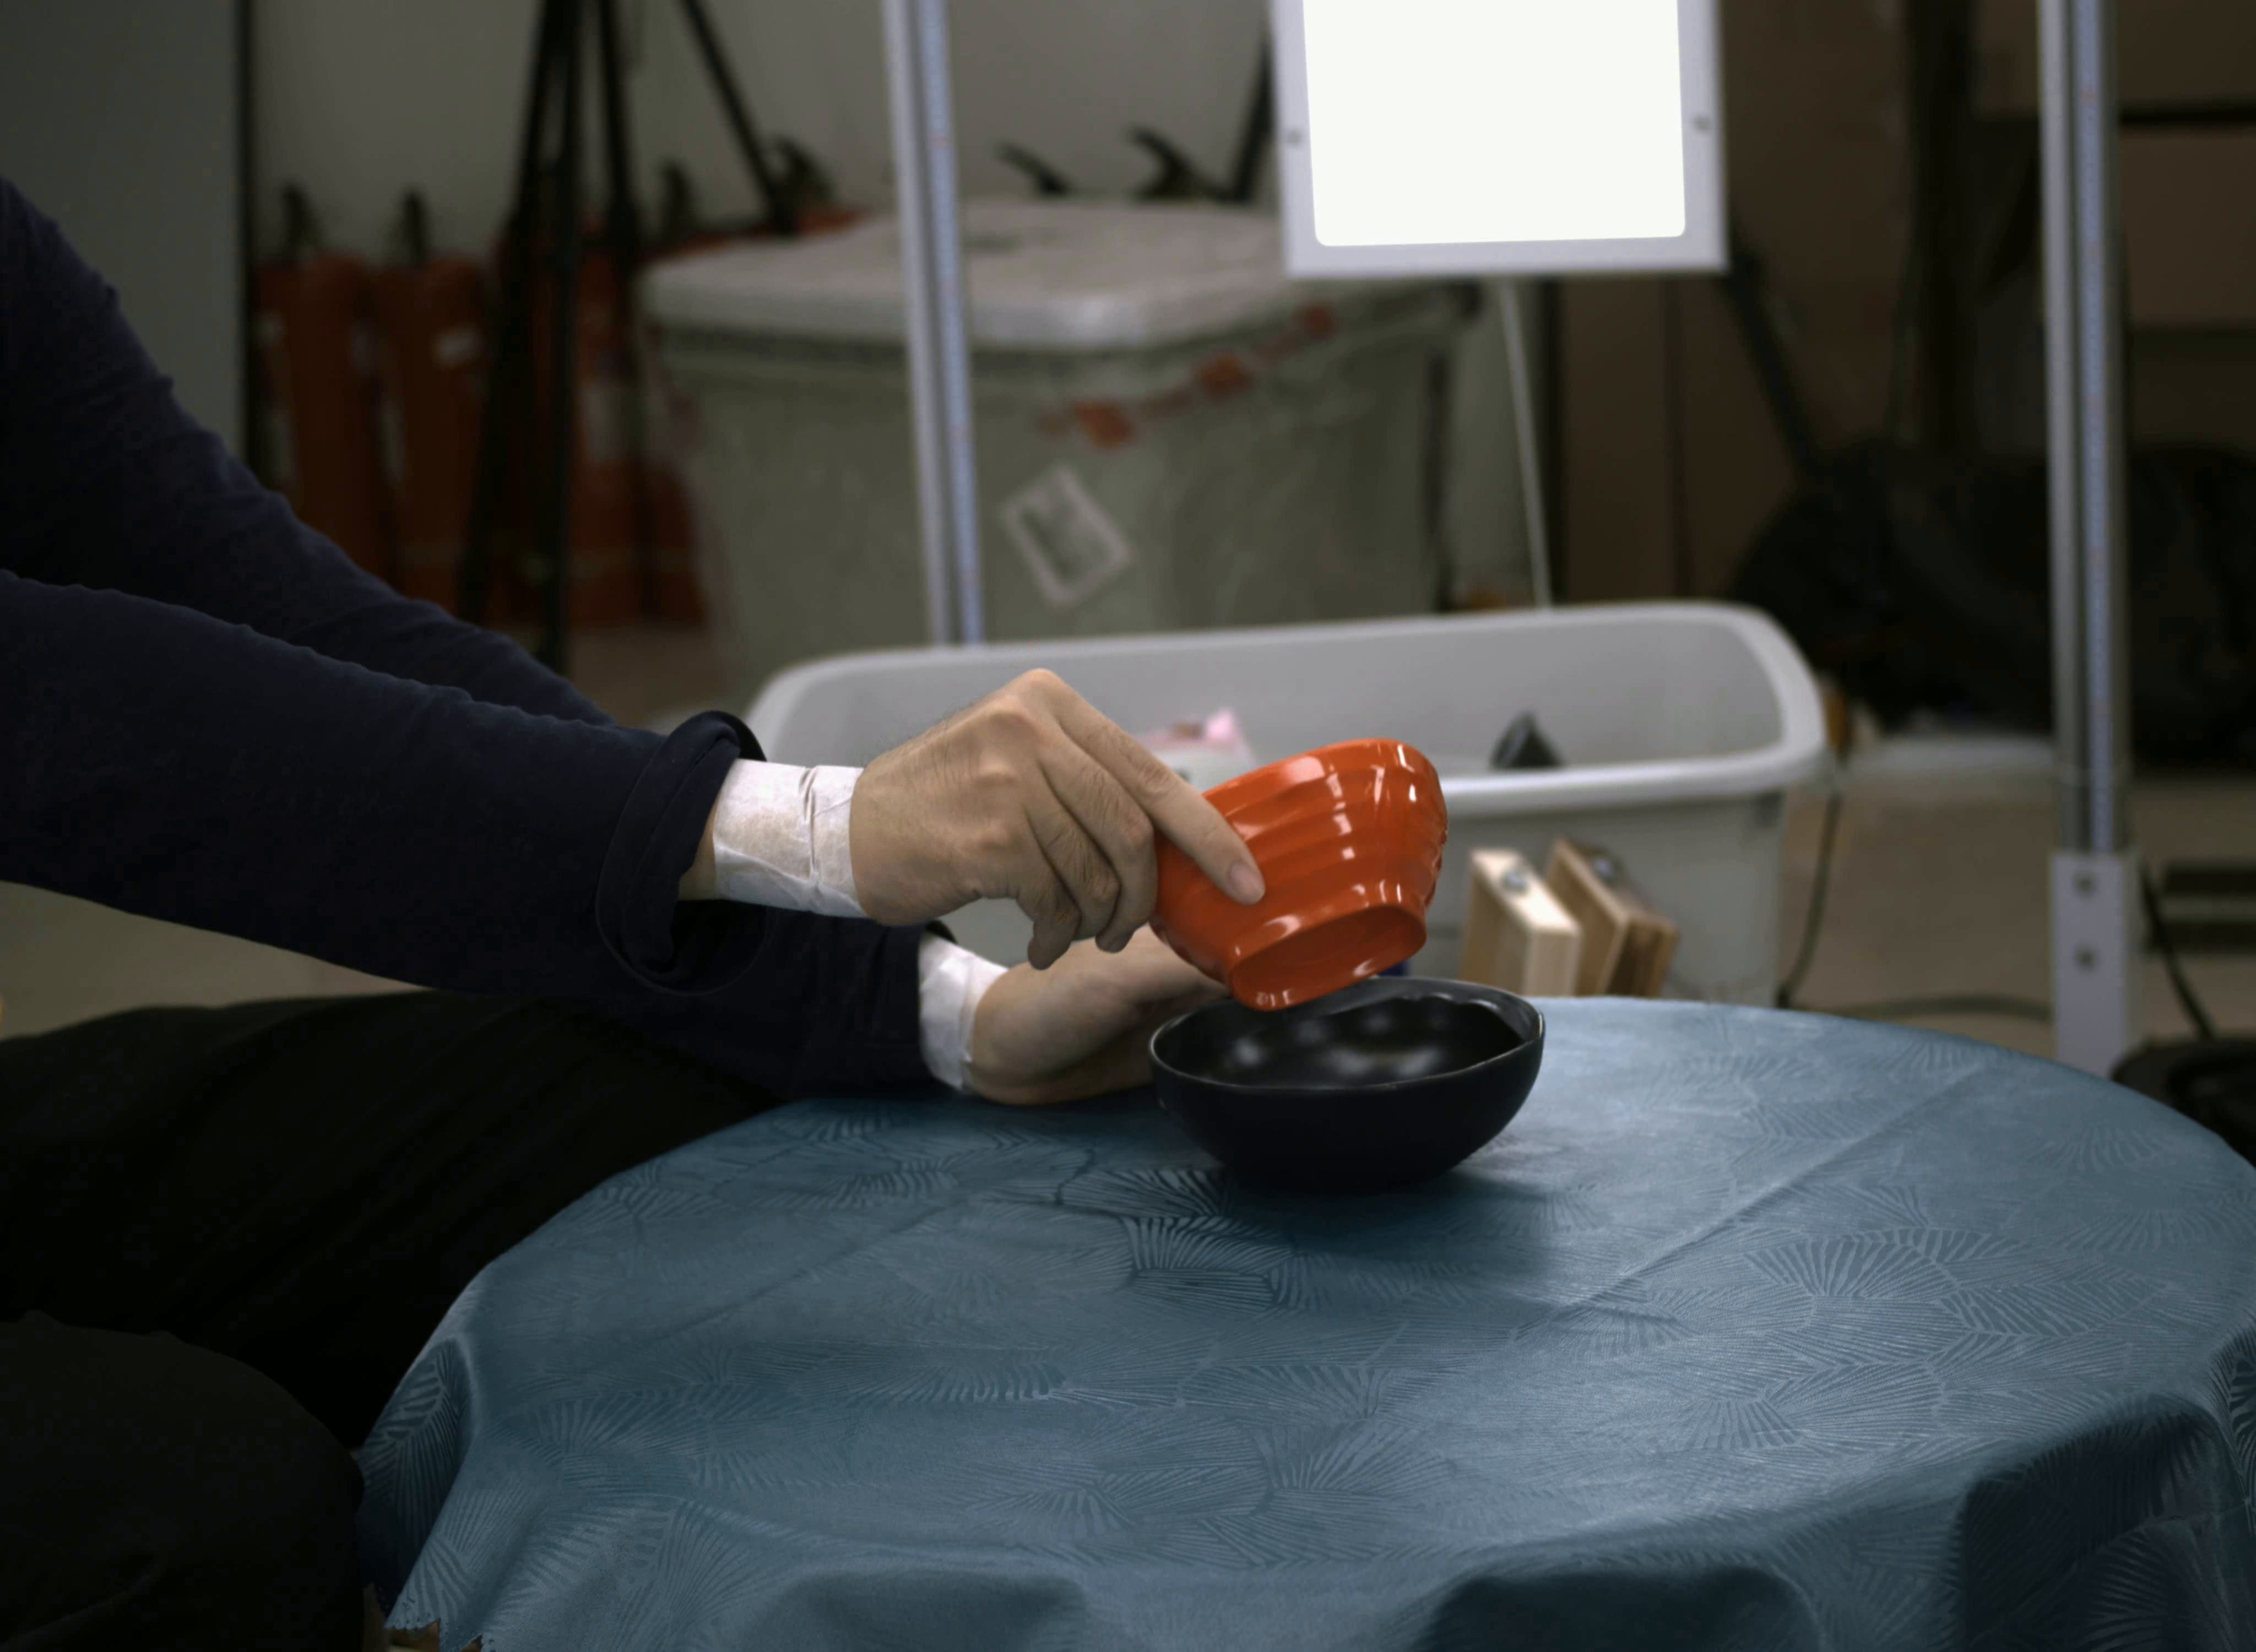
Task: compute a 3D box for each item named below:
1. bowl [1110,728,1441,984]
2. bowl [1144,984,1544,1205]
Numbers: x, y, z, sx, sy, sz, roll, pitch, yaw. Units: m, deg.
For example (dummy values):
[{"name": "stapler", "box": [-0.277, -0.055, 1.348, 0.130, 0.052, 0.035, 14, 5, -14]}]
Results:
[{"name": "bowl", "box": [0.055, 0.015, 1.798, 0.118, 0.051, 0.119, -16, -16, -6]}, {"name": "bowl", "box": [0.078, 0.097, 1.905, 0.140, 0.050, 0.140, -9, 12, 1]}]
